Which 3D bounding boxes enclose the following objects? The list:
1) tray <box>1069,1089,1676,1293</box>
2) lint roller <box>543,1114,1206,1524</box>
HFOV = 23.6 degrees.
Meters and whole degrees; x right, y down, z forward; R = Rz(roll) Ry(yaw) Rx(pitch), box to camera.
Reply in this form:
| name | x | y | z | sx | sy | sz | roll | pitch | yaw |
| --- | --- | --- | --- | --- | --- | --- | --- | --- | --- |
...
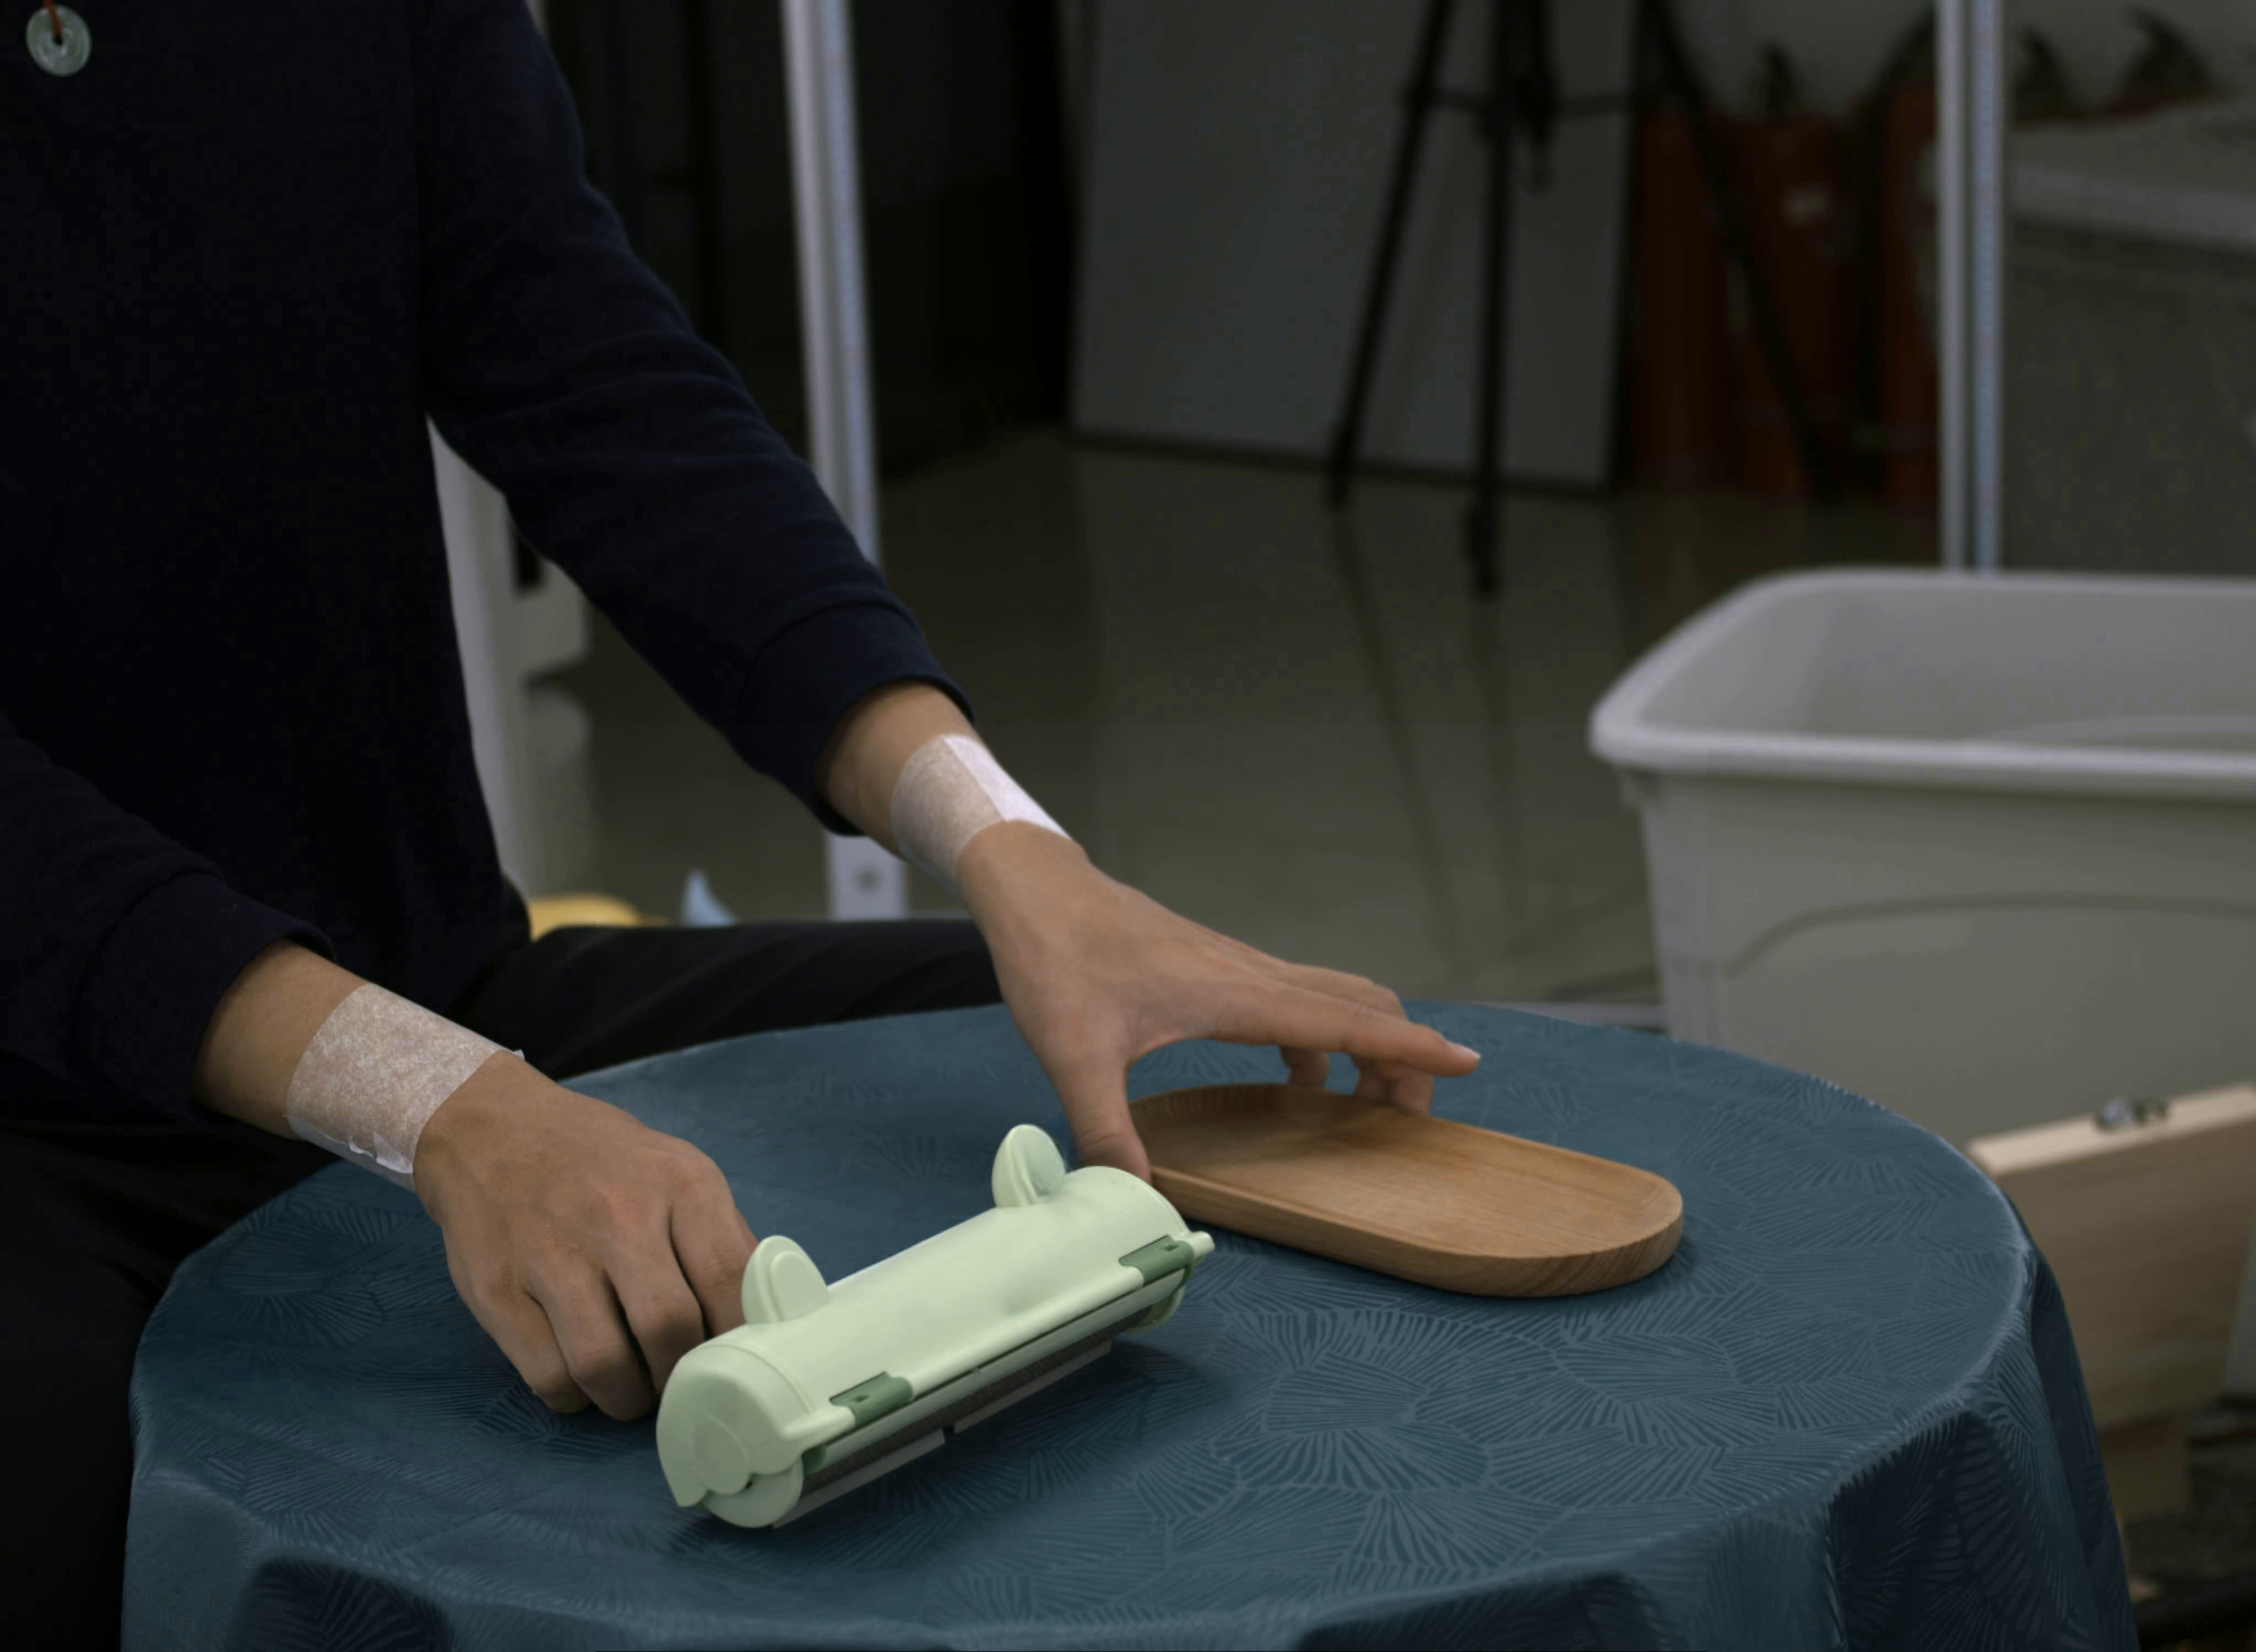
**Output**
| name | x | y | z | sx | sy | sz | roll | pitch | yaw |
| --- | --- | --- | --- | --- | --- | --- | --- | --- | --- |
| tray | 0.077 | 0.116 | 1.733 | 0.099 | 0.020 | 0.233 | -15 | 16 | -42 |
| lint roller | -0.101 | 0.129 | 1.584 | 0.184 | 0.083 | 0.195 | 13 | 20 | 35 |
